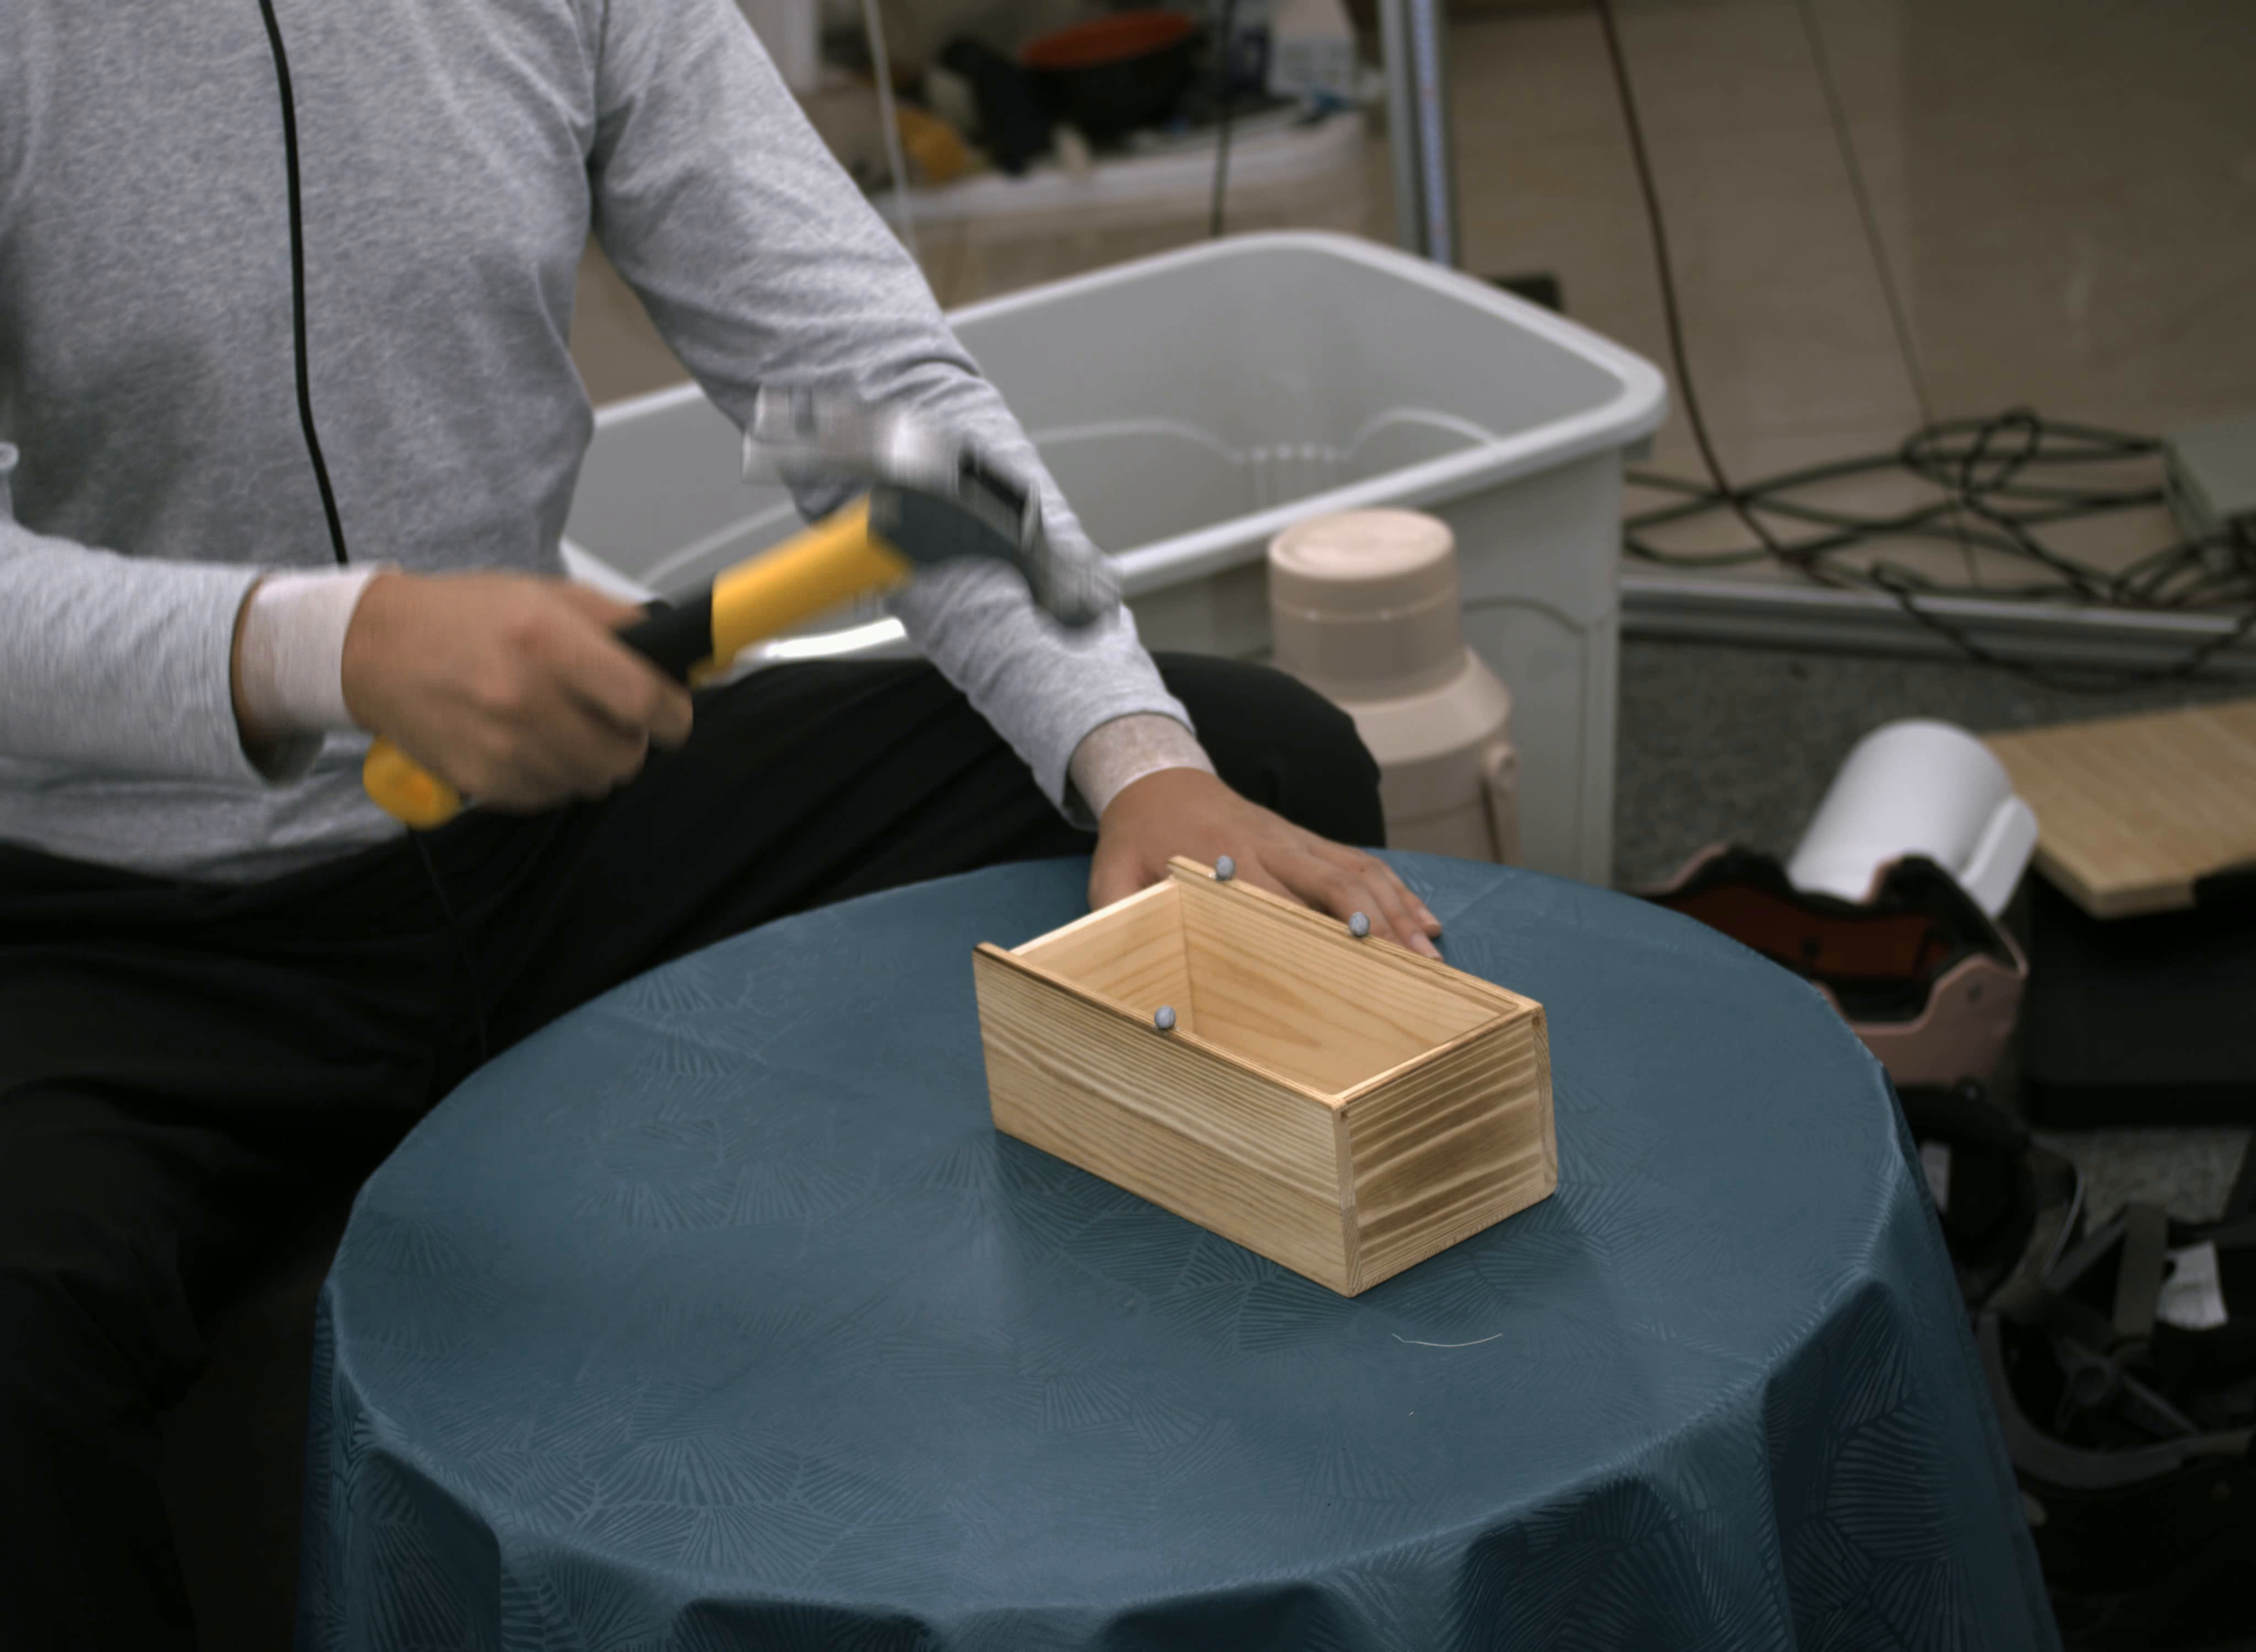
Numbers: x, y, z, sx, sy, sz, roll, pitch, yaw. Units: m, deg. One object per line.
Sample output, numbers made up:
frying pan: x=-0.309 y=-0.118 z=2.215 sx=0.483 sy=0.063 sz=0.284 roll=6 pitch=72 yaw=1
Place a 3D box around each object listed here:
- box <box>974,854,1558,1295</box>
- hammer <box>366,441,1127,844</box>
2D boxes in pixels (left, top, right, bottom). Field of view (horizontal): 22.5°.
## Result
box: x=0.051 y=0.091 z=2.144 sx=0.107 sy=0.081 sz=0.209 roll=-25 pitch=31 yaw=-33
hammer: x=-0.161 y=-0.056 z=2.040 sx=0.340 sy=0.133 sz=0.032 roll=-22 pitch=44 yaw=42
